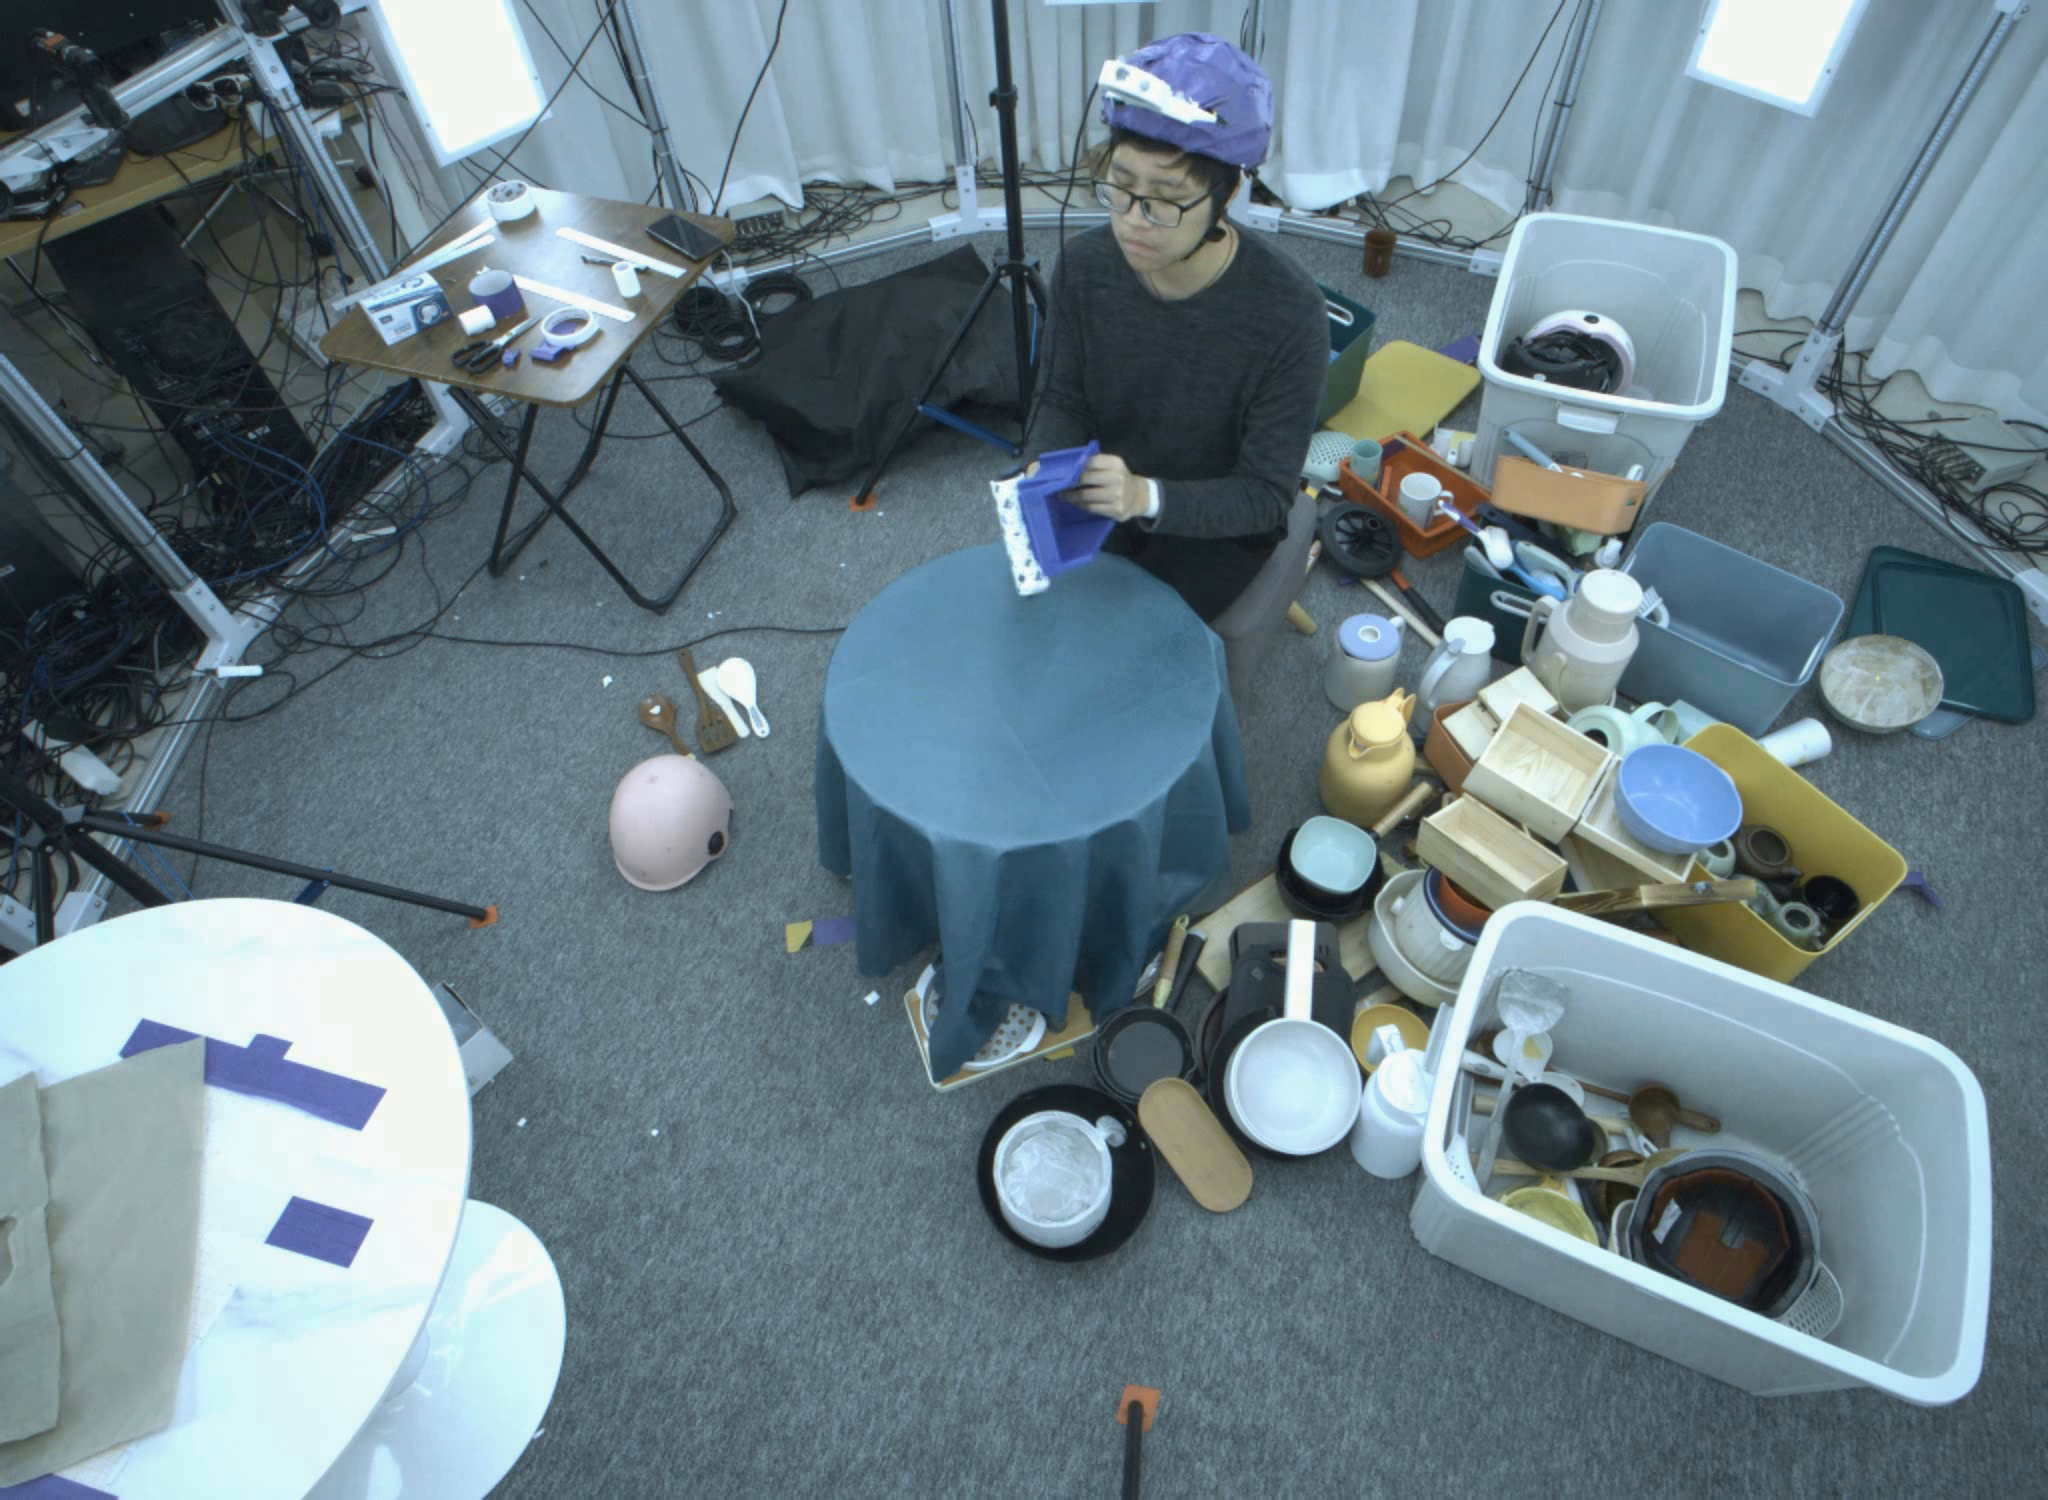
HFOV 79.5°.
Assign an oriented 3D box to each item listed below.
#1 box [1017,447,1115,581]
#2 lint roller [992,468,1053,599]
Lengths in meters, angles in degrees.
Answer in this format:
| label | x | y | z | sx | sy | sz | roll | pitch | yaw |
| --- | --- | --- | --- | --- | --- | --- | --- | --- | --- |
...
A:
| label | x | y | z | sx | sy | sz | roll | pitch | yaw |
| --- | --- | --- | --- | --- | --- | --- | --- | --- | --- |
| box | 0.054 | -0.318 | 1.649 | 0.081 | 0.126 | 0.179 | -5 | 30 | 19 |
| lint roller | 0.023 | -0.336 | 1.762 | 0.050 | 0.178 | 0.247 | -7 | 23 | 19 |
